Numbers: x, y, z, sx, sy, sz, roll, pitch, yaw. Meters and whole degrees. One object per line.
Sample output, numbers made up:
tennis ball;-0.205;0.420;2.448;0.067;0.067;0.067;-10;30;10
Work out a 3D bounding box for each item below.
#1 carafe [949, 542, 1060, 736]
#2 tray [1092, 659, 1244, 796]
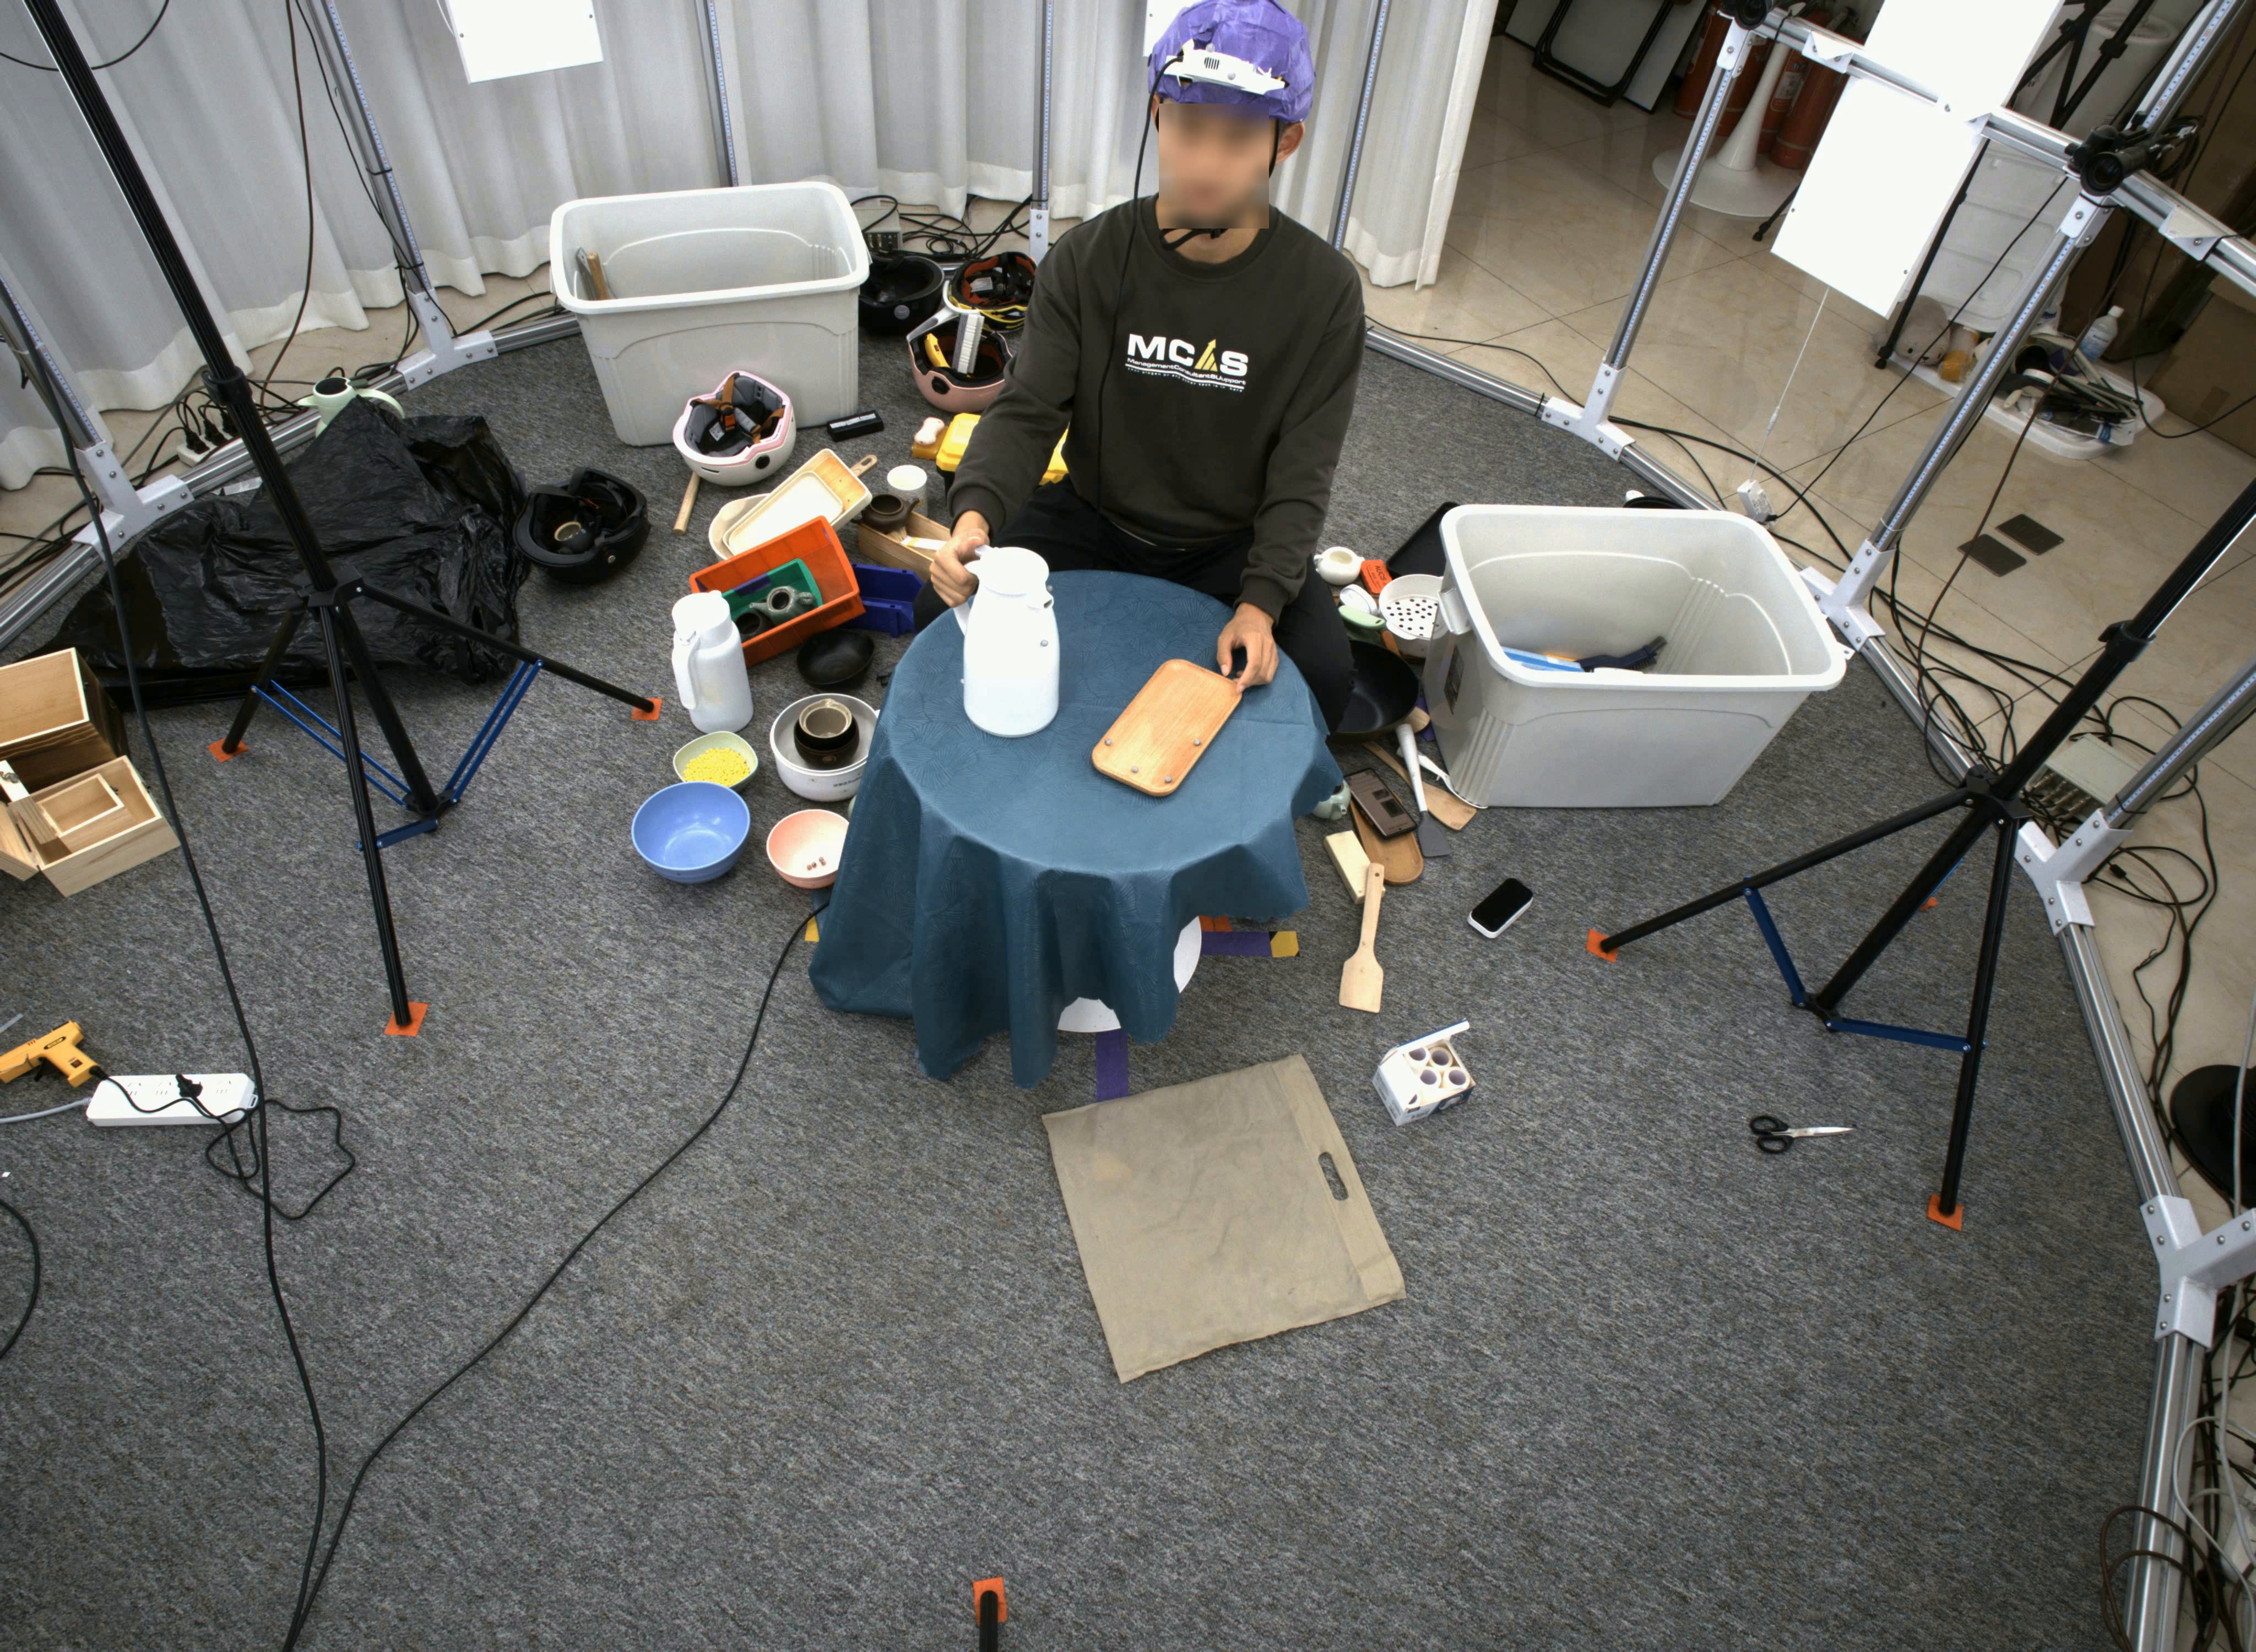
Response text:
carafe;-0.171;-0.260;1.716;0.170;0.242;0.134;33;55;22
tray;0.058;-0.140;1.780;0.131;0.022;0.254;27;51;15
